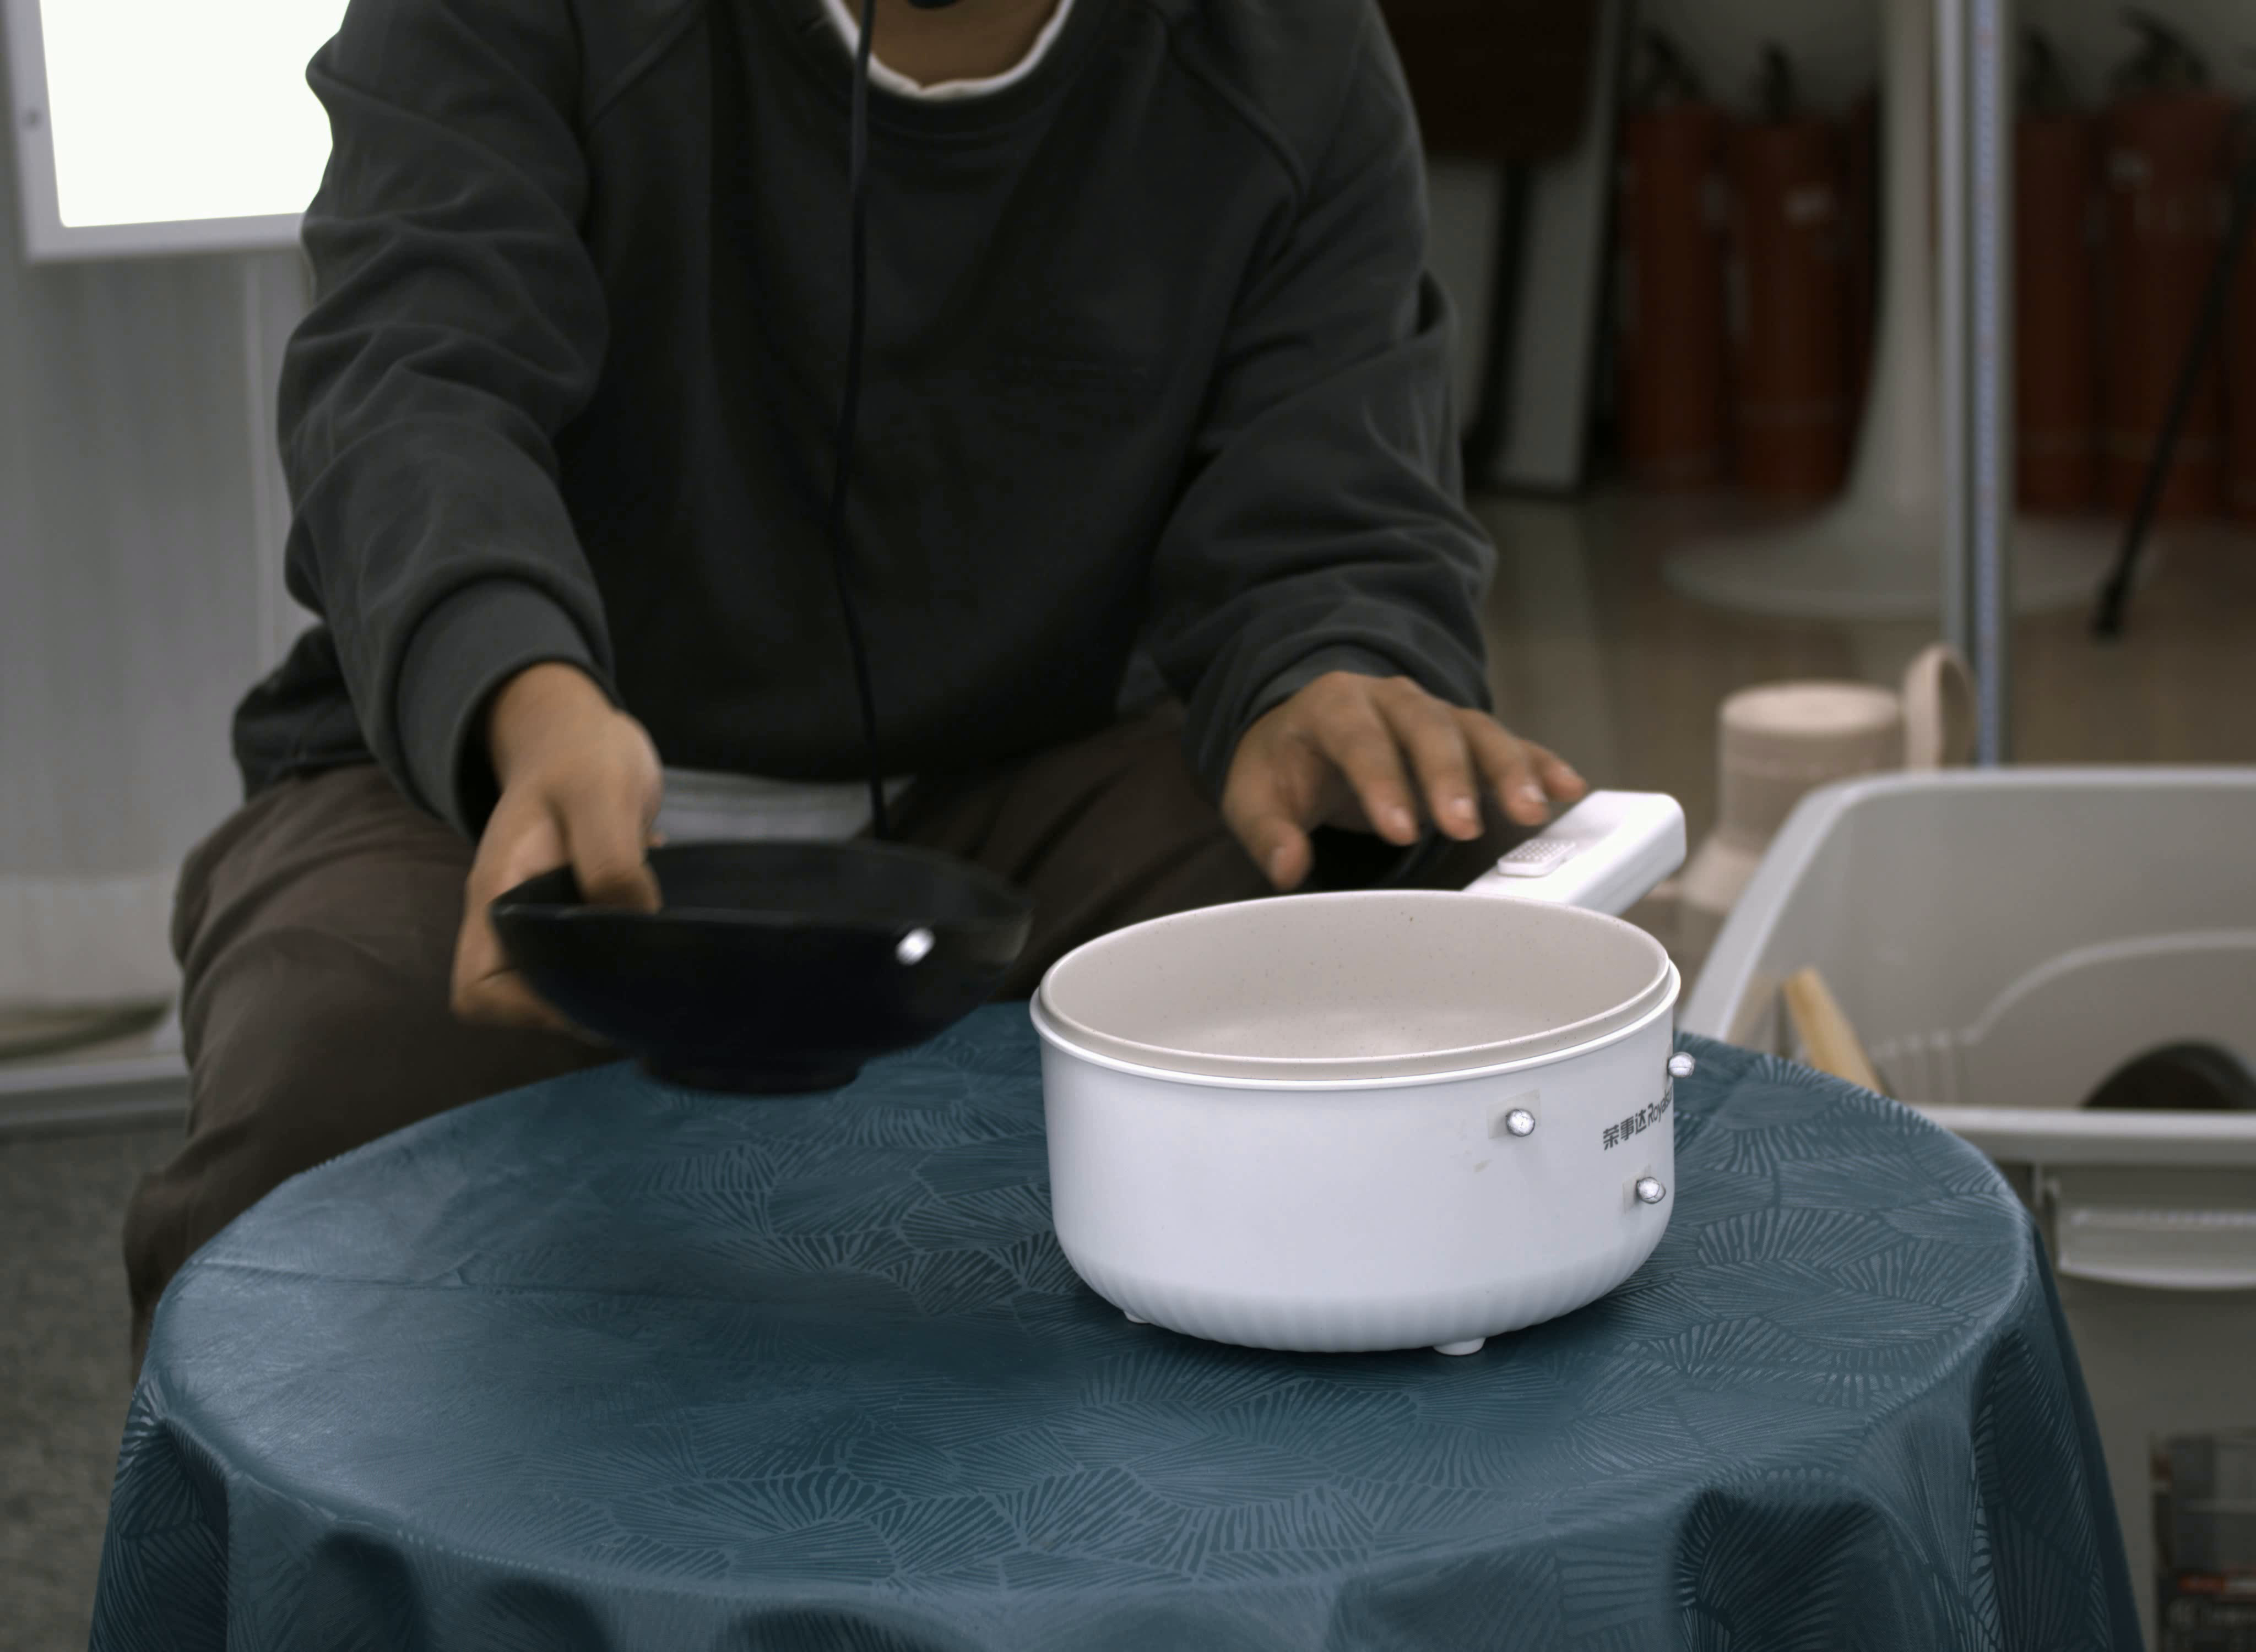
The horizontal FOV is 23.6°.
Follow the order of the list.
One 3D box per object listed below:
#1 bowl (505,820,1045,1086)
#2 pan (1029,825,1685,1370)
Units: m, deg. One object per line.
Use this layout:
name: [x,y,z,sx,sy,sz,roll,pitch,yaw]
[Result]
bowl: [-0.109,0.042,1.662,0.169,0.067,0.137,1,9,6]
pan: [0.104,0.083,1.726,0.201,0.103,0.350,-1,11,26]
